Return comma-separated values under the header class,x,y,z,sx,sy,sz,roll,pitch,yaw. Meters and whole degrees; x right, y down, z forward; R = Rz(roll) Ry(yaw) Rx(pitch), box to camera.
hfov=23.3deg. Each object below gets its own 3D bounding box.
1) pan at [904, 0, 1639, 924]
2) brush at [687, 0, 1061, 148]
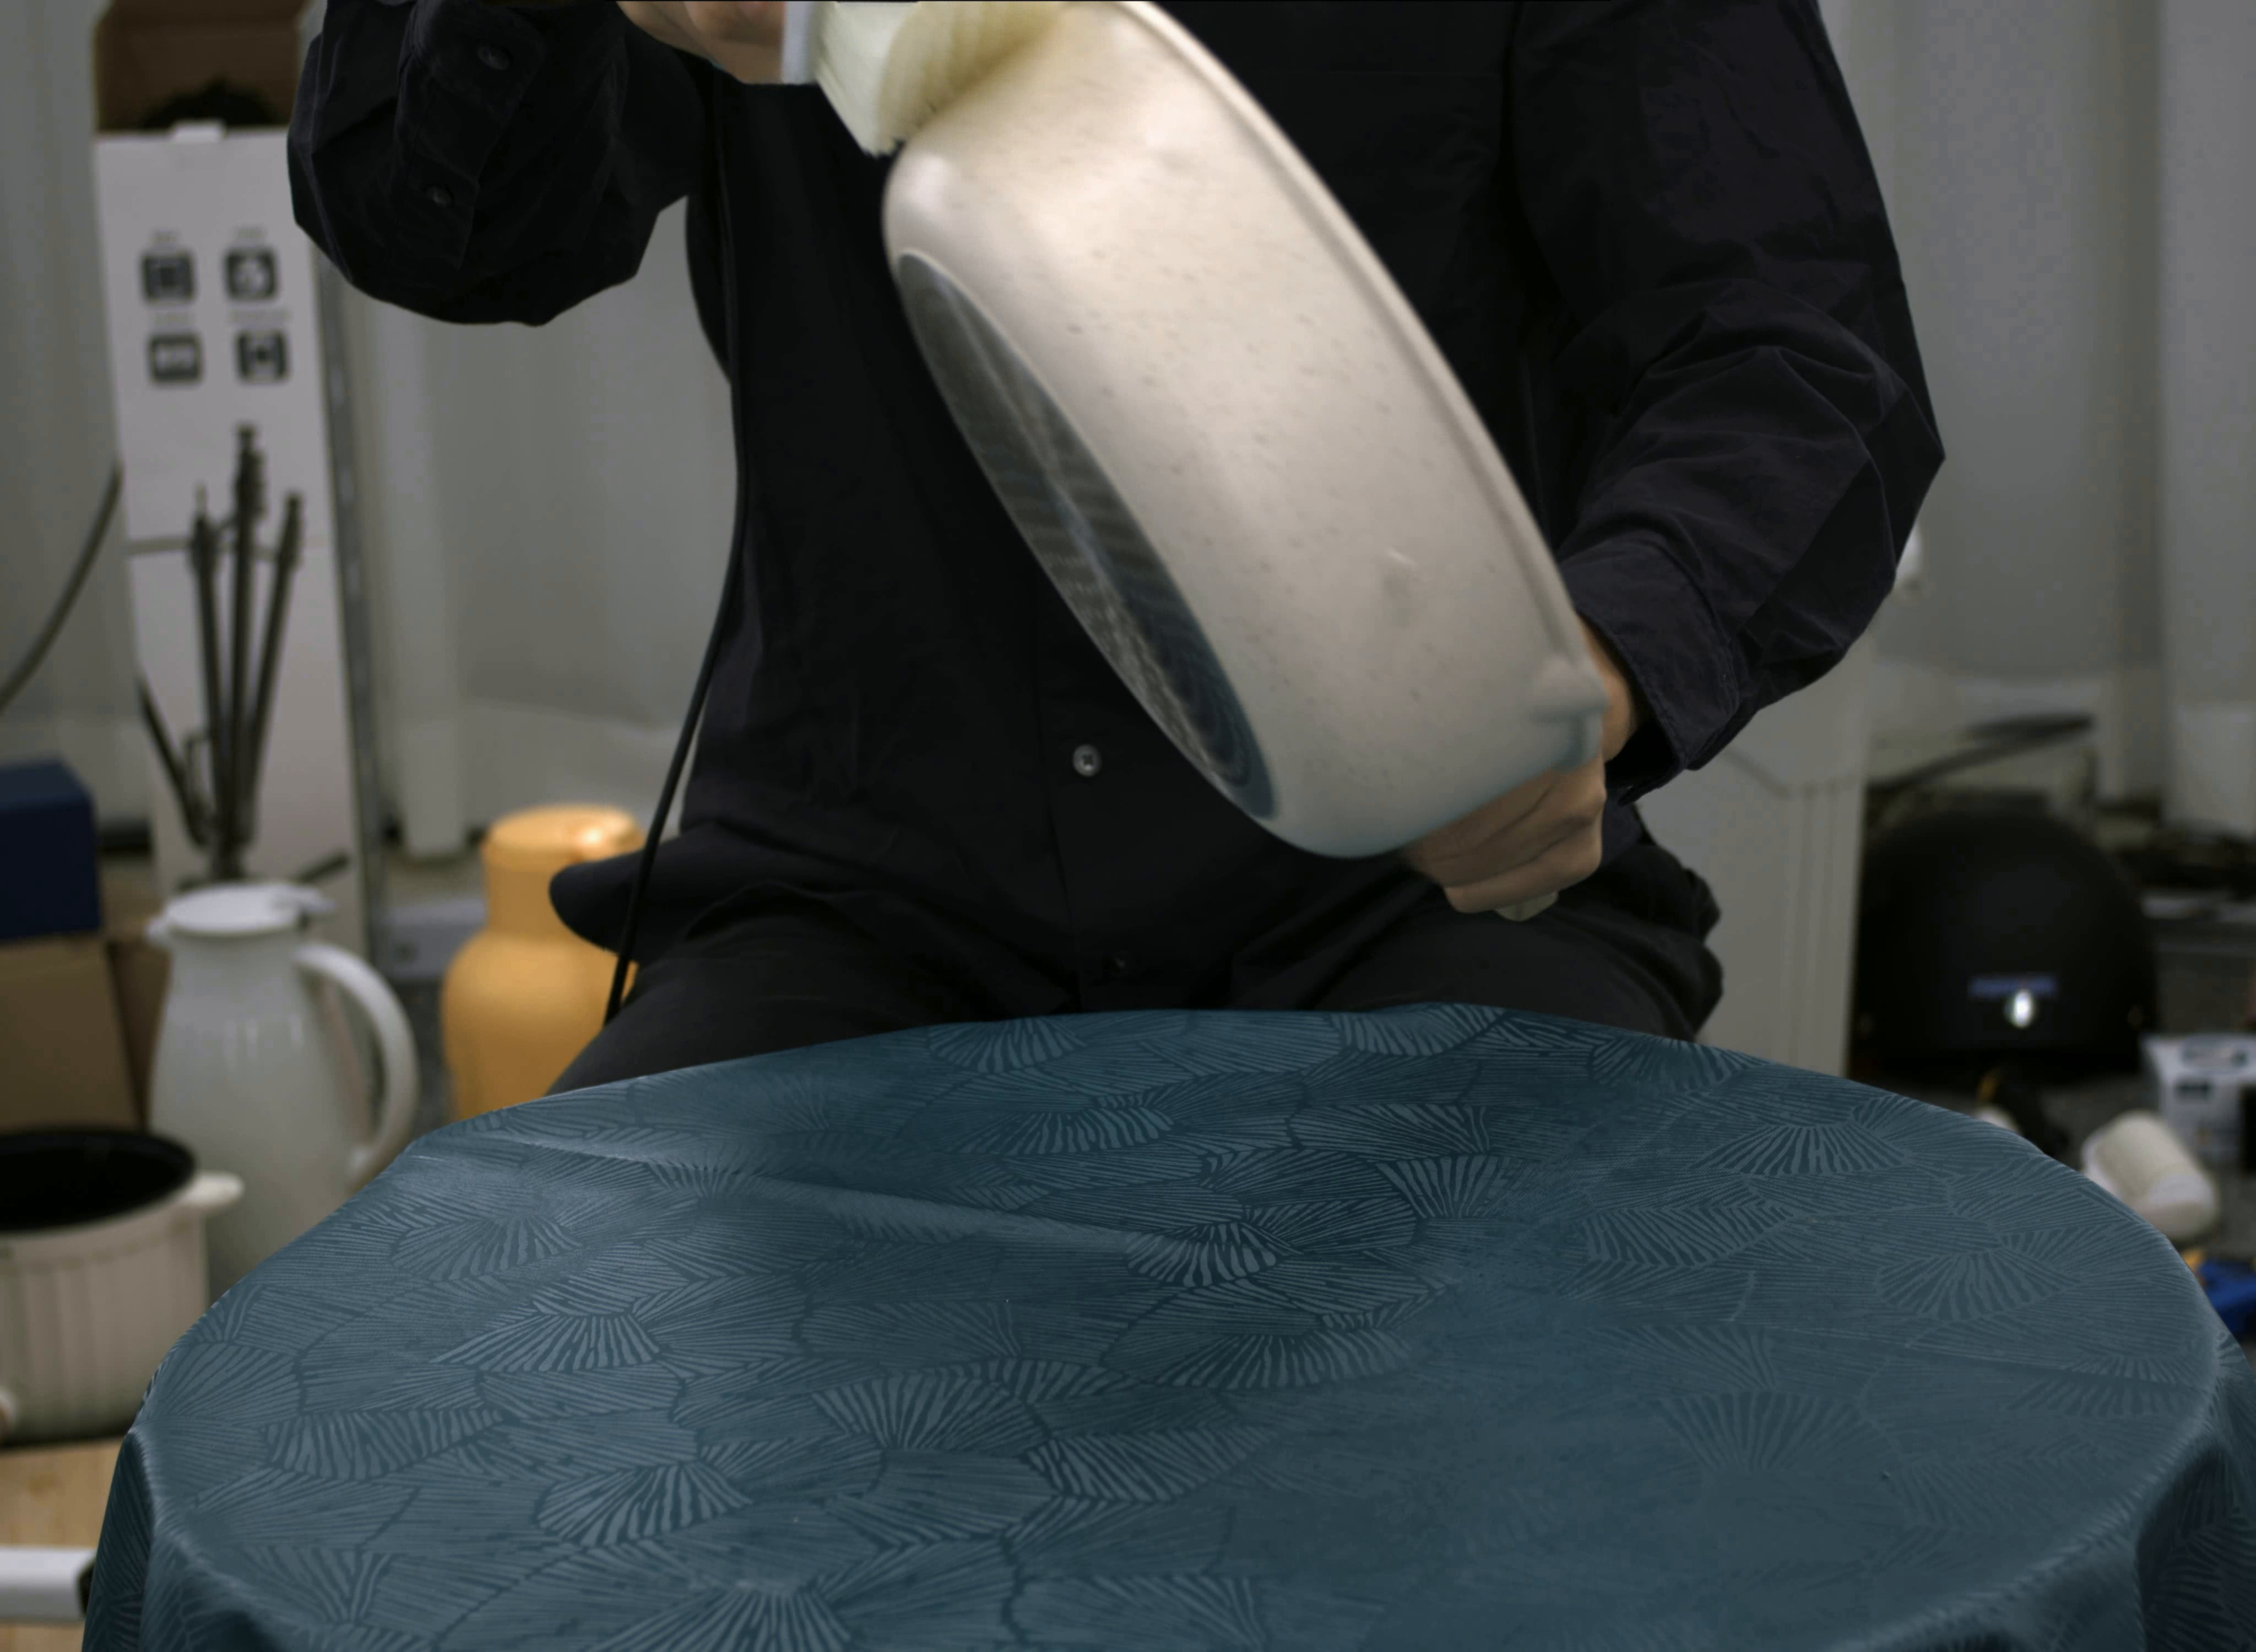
class,x,y,z,sx,sy,sz,roll,pitch,yaw
pan,0.049,-0.056,1.553,0.102,0.429,0.266,-34,60,-9
brush,-0.069,-0.223,1.540,0.082,0.085,0.325,3,-2,-11
